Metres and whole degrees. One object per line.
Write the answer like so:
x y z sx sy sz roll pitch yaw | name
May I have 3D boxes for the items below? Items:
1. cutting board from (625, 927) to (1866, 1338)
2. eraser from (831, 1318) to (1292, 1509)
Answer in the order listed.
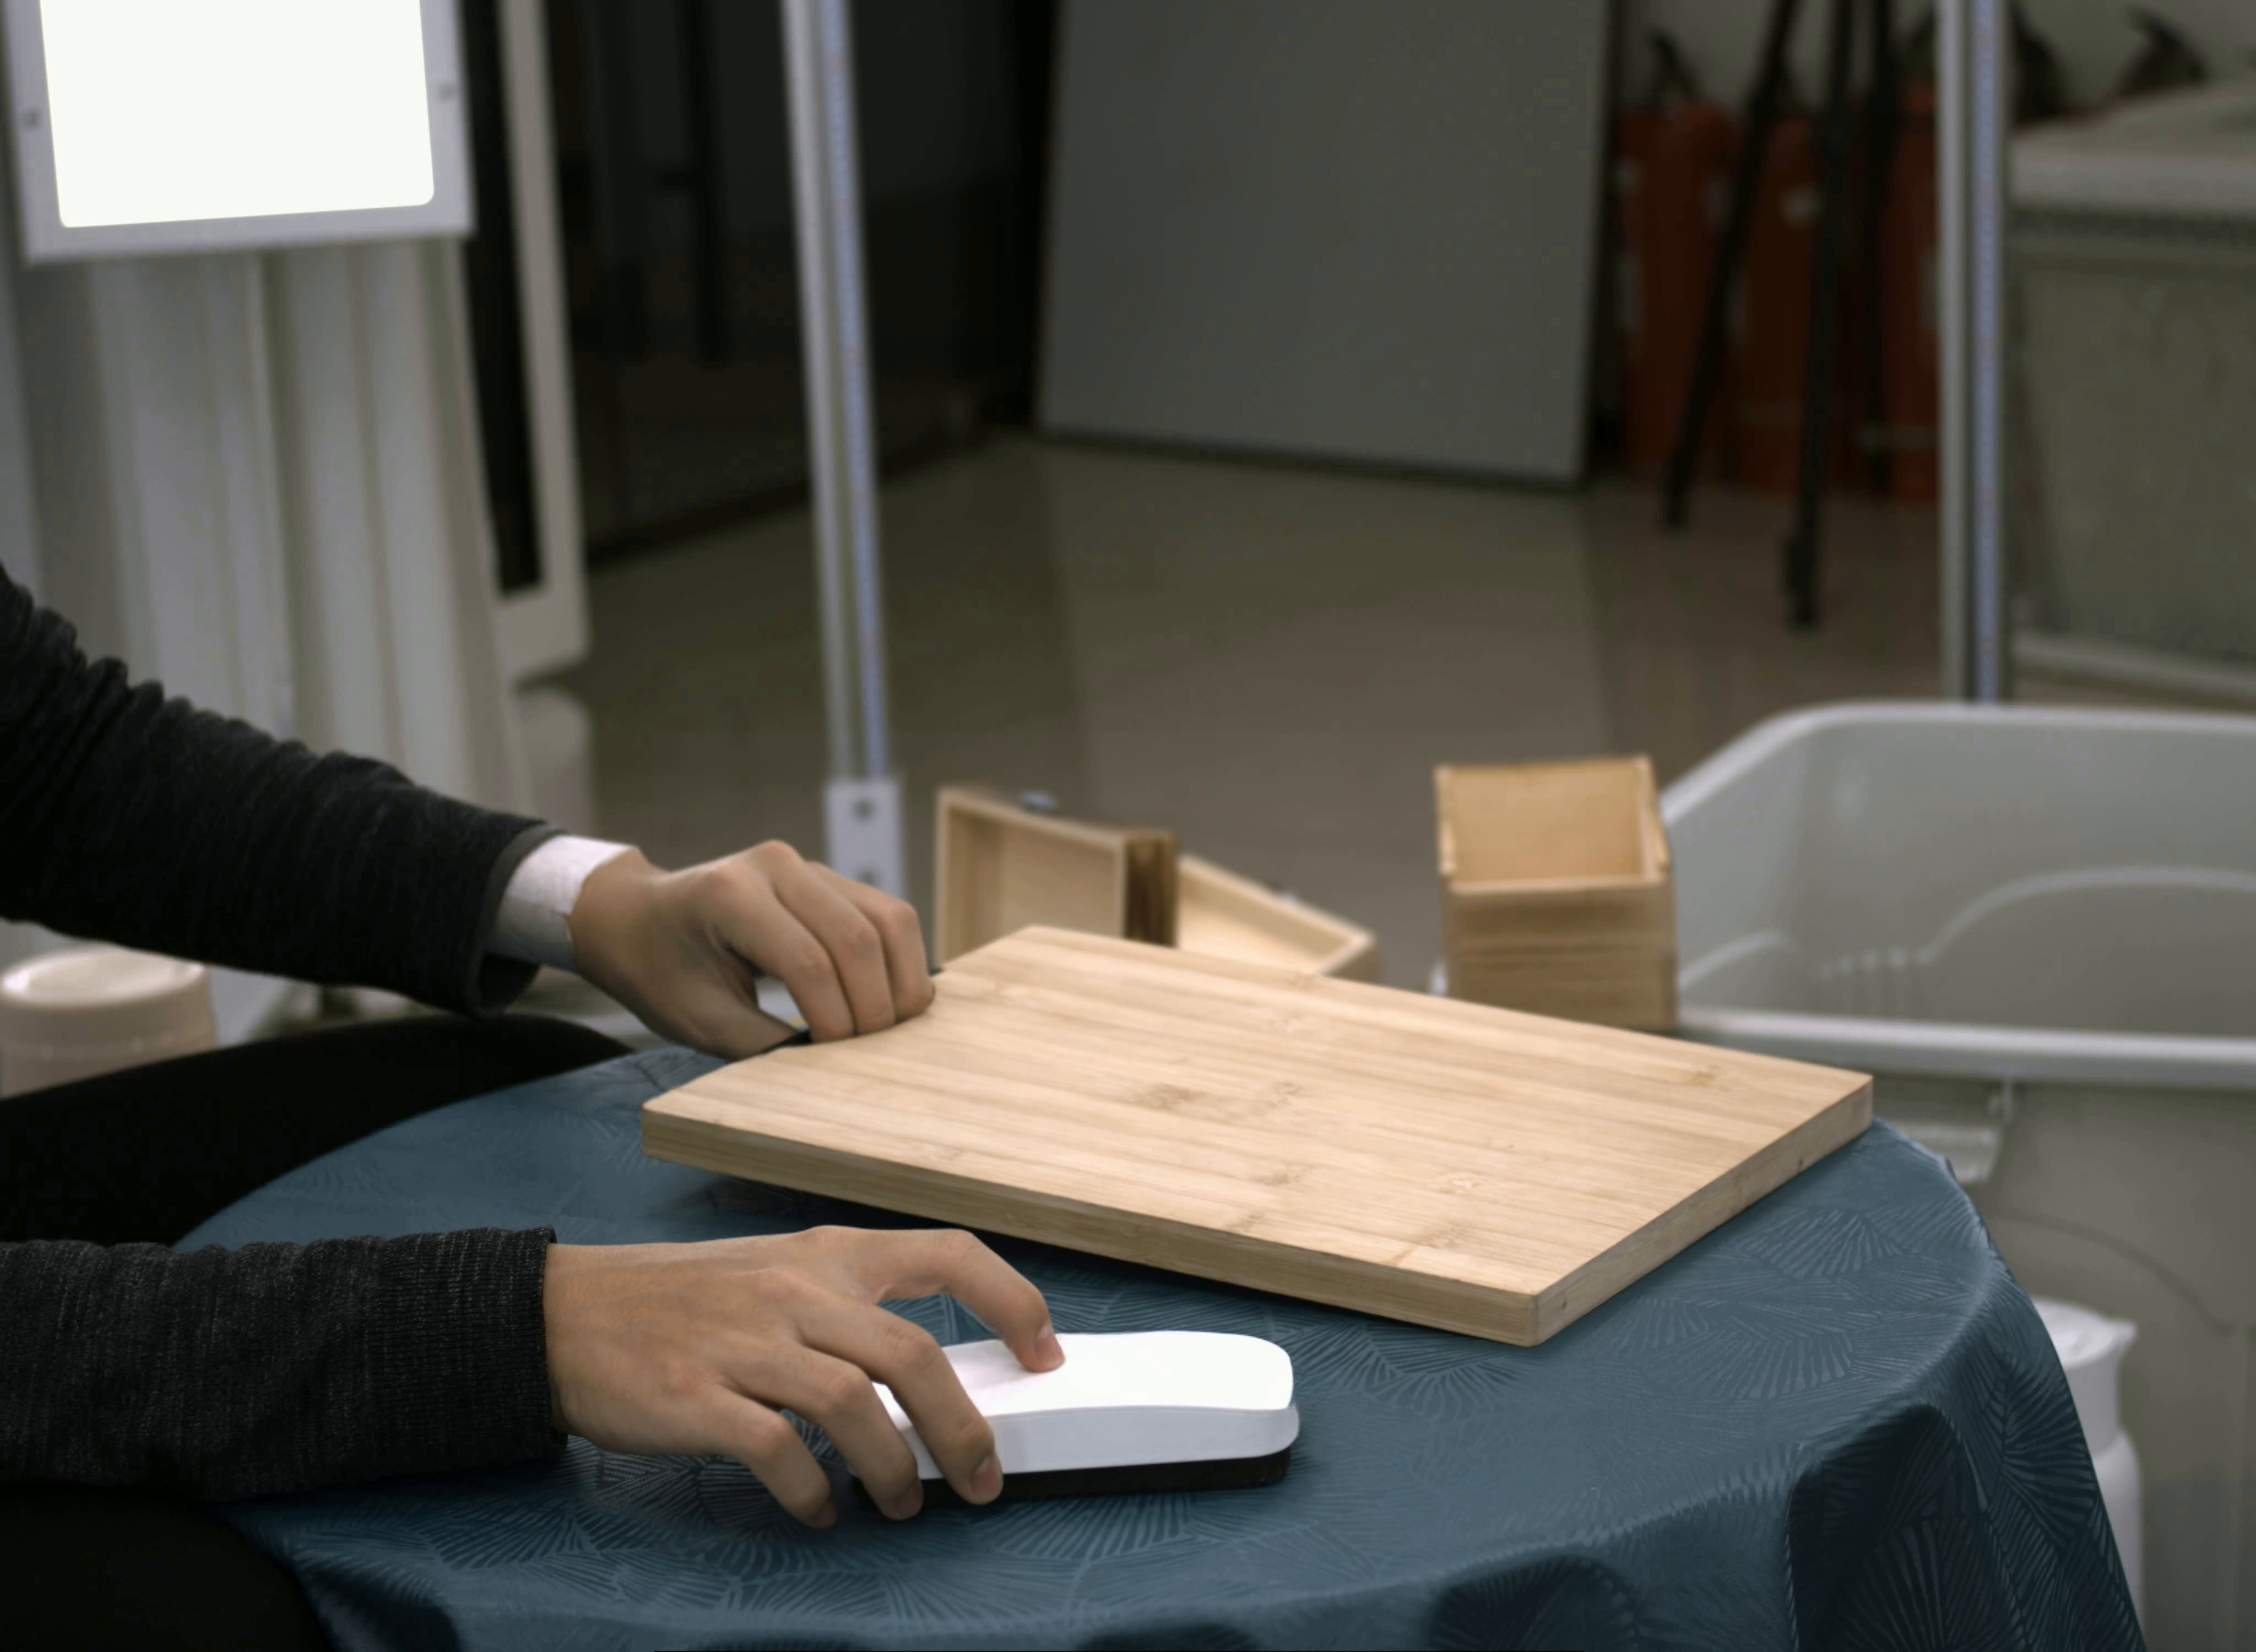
0.039 0.096 1.787 0.350 0.024 0.246 8 18 32 | cutting board
-0.018 0.166 1.526 0.129 0.035 0.063 -2 15 1 | eraser
